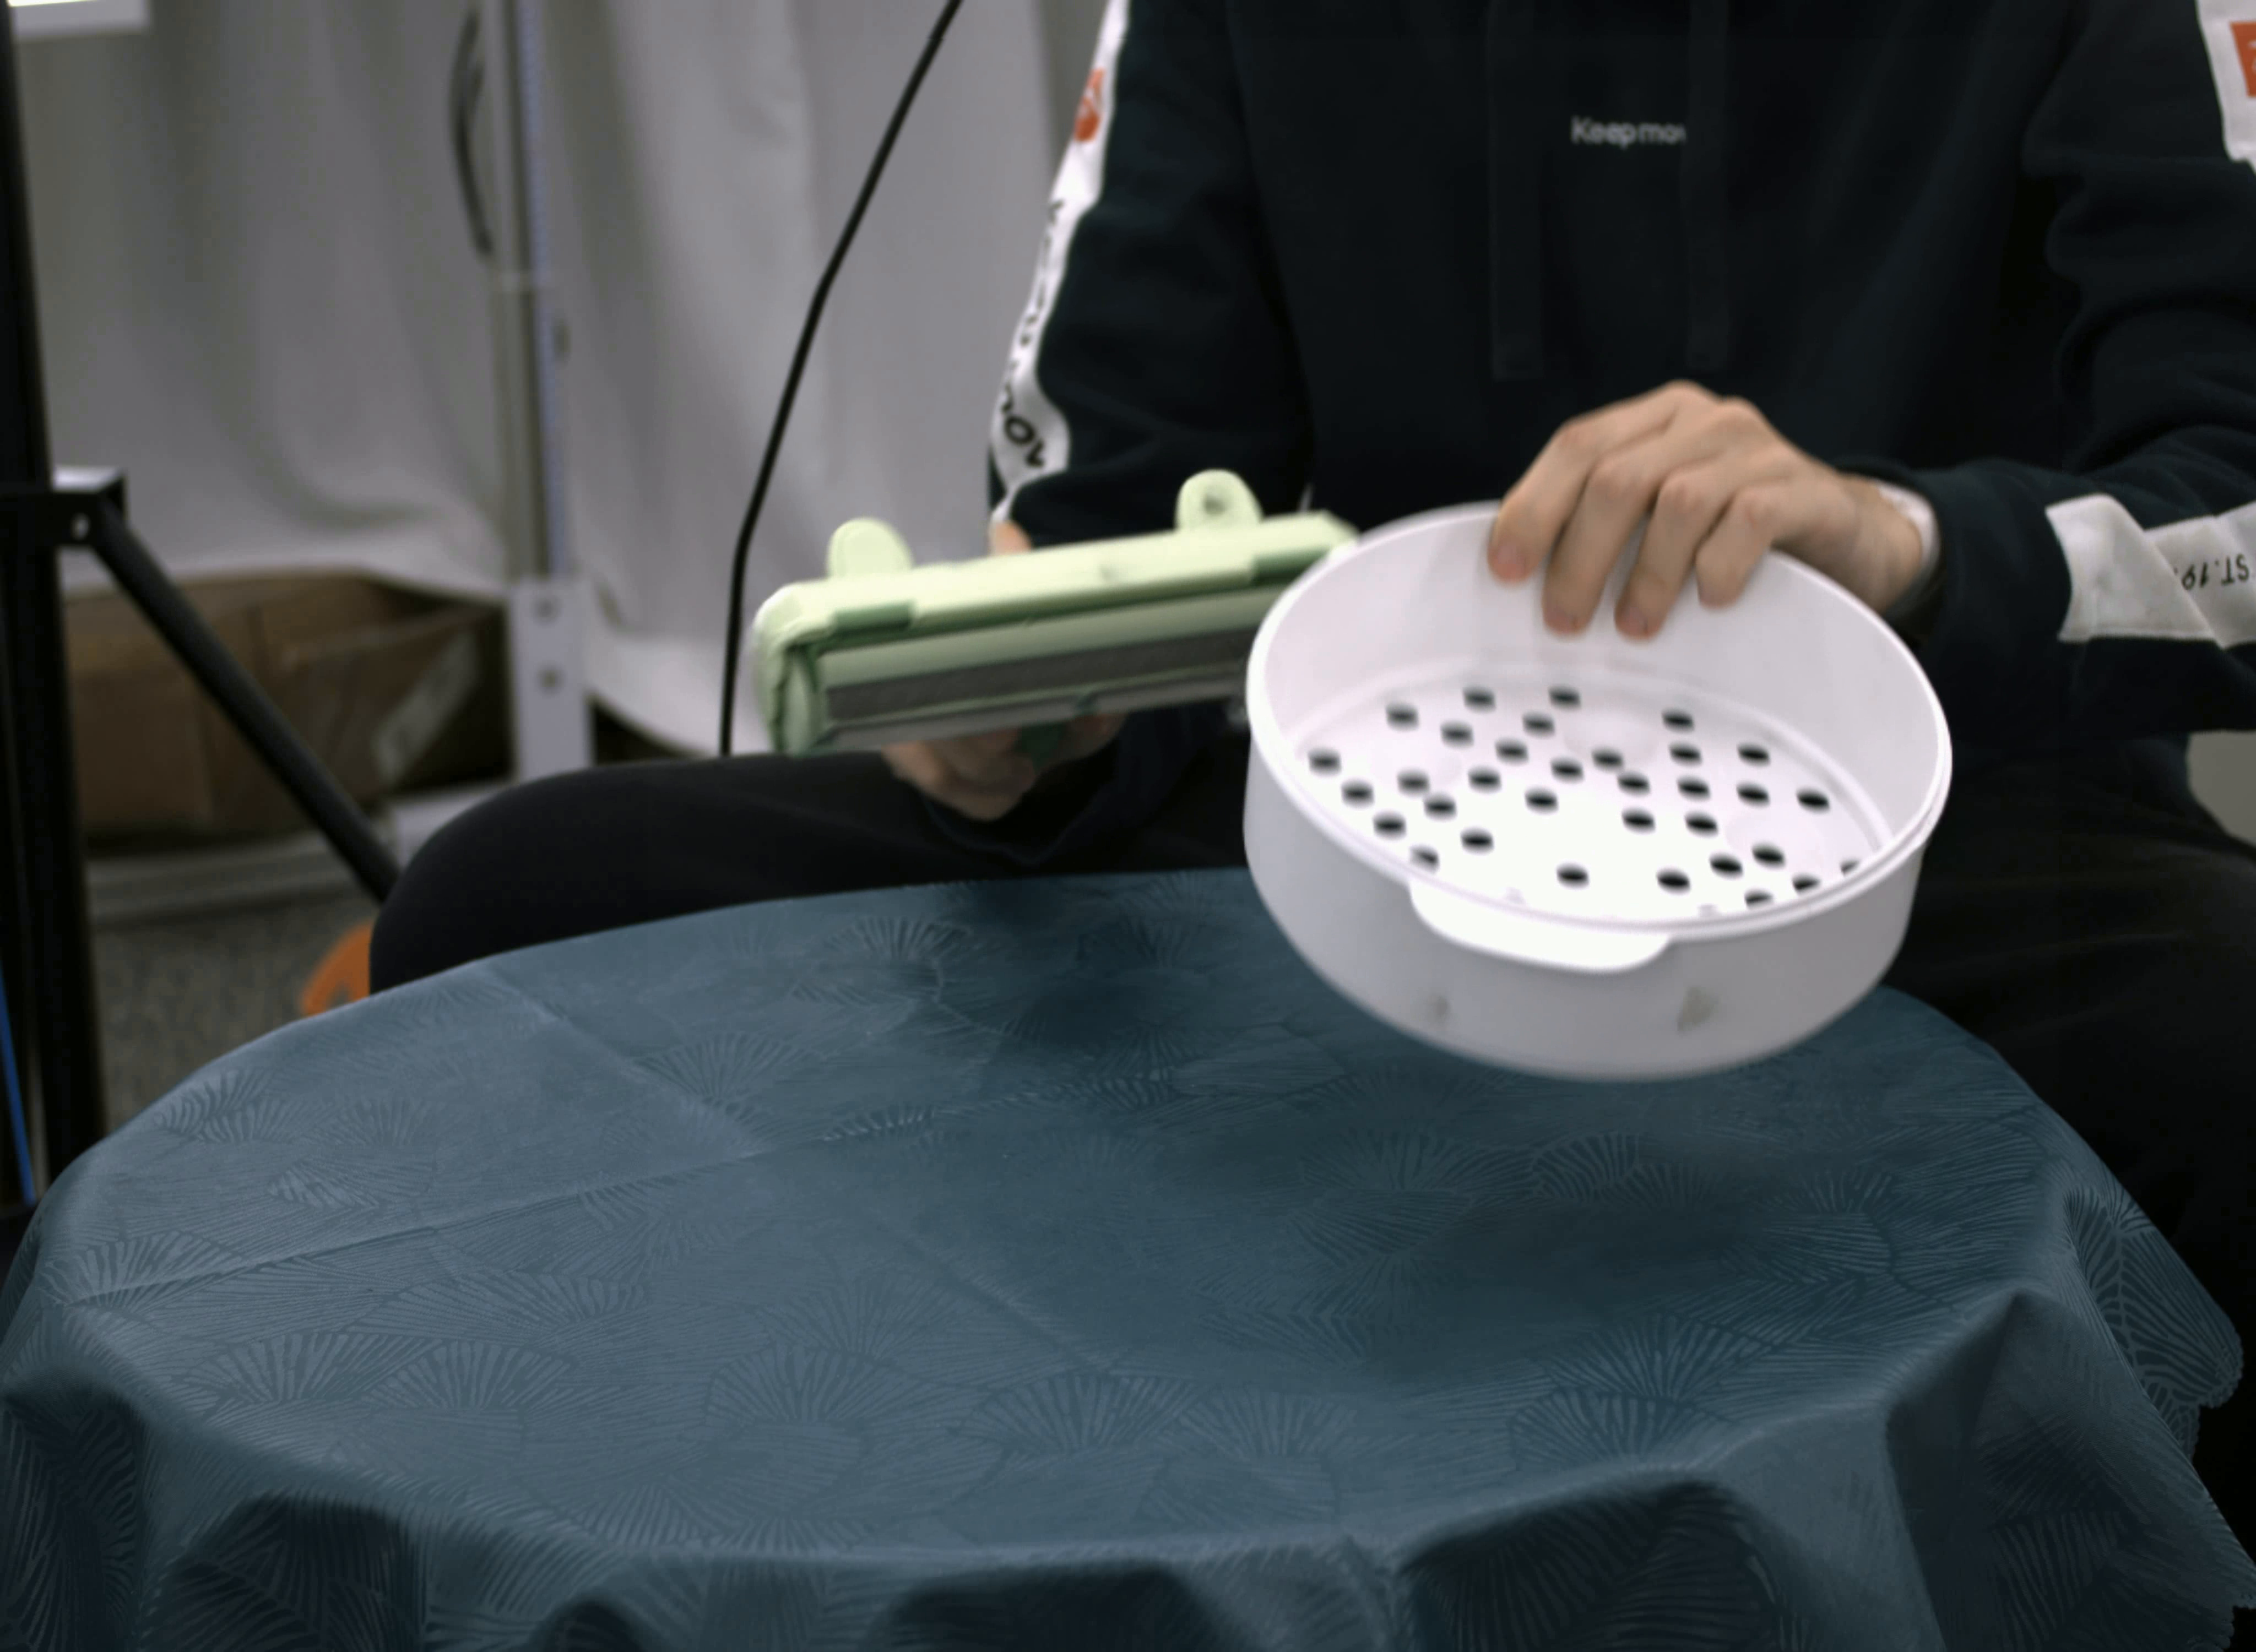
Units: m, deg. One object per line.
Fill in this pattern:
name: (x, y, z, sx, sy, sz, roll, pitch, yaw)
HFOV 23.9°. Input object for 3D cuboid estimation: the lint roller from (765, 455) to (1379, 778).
lint roller: (-0.031, -0.065, 1.745, 0.196, 0.083, 0.185, -10, -4, -14)

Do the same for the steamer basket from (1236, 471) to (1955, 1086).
steamer basket: (0.130, -0.011, 1.507, 0.202, 0.069, 0.230, 12, 40, 9)
